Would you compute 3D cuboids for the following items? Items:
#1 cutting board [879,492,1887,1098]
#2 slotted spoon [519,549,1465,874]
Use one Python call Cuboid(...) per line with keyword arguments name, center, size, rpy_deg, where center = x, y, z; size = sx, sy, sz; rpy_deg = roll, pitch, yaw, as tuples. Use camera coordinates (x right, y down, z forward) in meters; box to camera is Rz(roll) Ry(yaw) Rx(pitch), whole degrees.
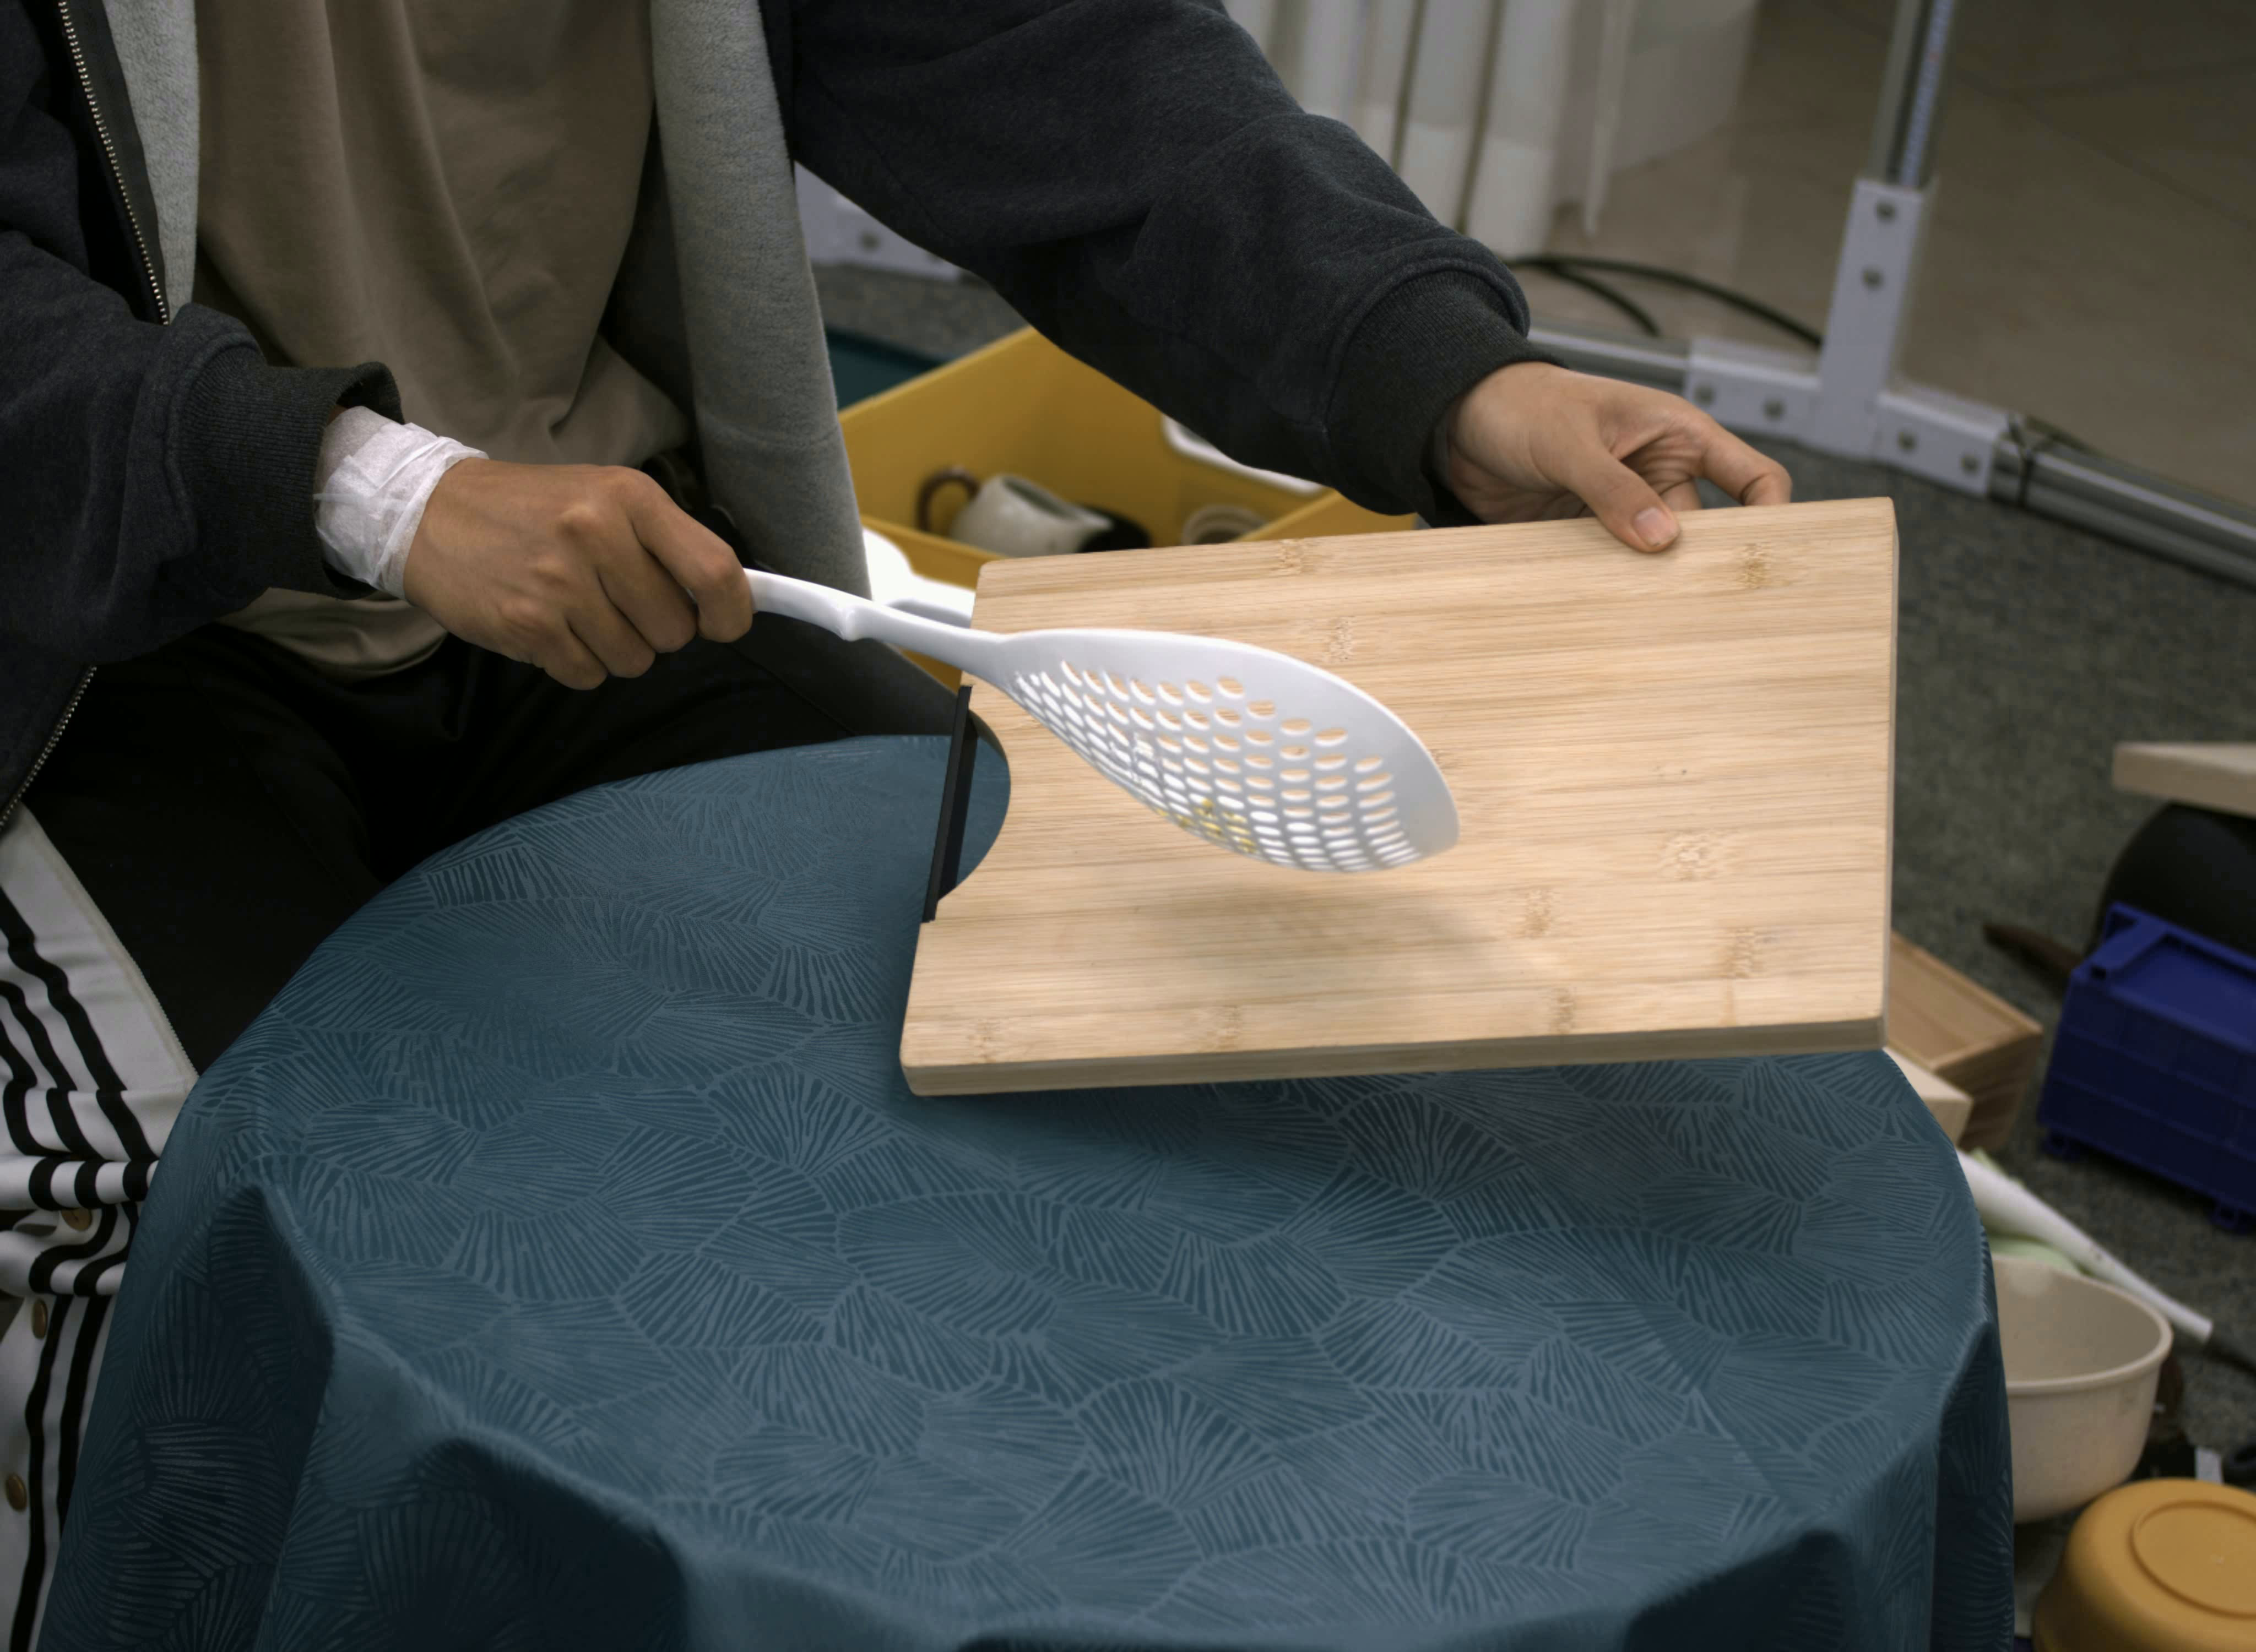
Cuboid(name="cutting board", center=(0.094, -0.012, 1.878), size=(0.348, 0.023, 0.252), rpy_deg=(-4, 48, 13))
Cuboid(name="slotted spoon", center=(-0.051, -0.050, 1.815), size=(0.349, 0.136, 0.050), rpy_deg=(21, 70, 22))
